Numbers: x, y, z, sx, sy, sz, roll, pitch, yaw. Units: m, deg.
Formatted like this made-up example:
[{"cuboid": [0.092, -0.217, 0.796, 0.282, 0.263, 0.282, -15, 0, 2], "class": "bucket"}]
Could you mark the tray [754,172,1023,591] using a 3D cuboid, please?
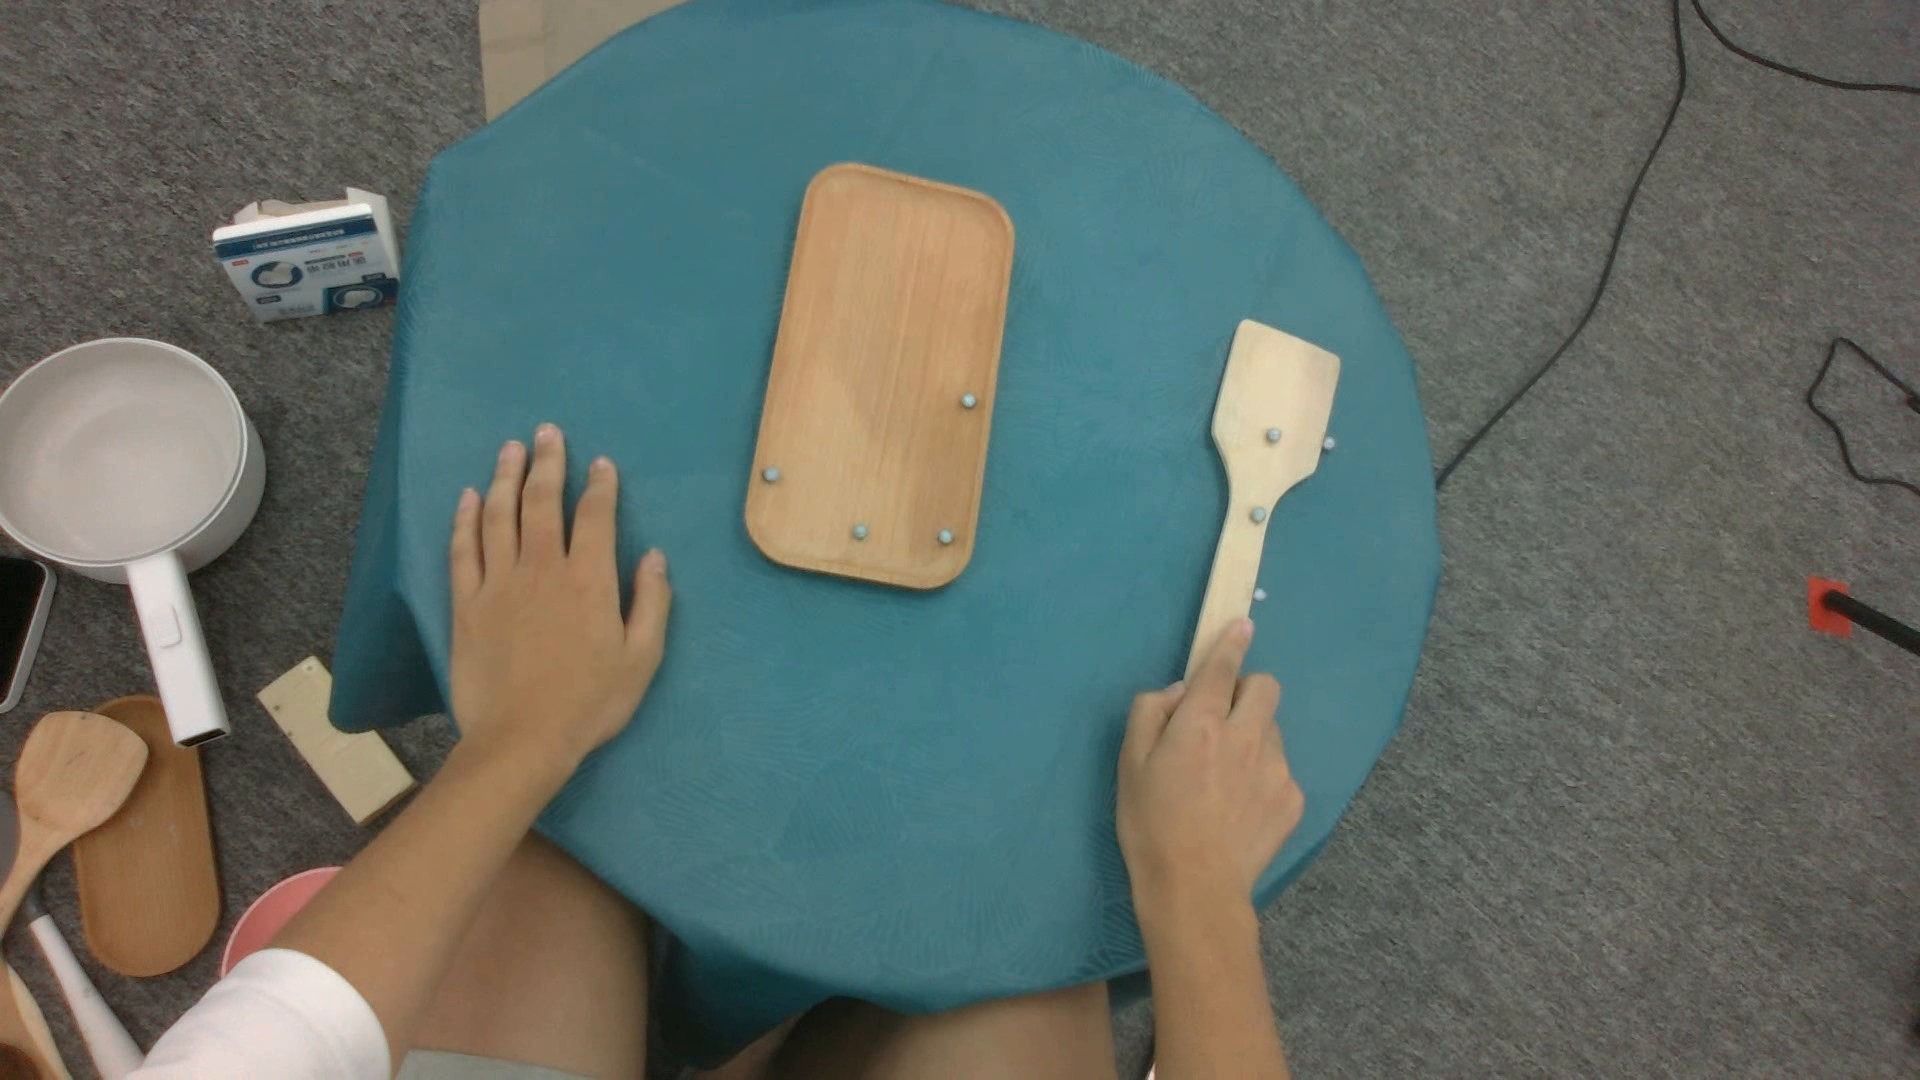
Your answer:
[{"cuboid": [-0.039, -0.095, 0.801, 0.130, 0.023, 0.251, 12, 71, -10], "class": "tray"}]

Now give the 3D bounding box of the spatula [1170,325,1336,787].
[{"cuboid": [0.166, 0.005, 0.803, 0.072, 0.010, 0.294, 21, 66, -7], "class": "spatula"}]
